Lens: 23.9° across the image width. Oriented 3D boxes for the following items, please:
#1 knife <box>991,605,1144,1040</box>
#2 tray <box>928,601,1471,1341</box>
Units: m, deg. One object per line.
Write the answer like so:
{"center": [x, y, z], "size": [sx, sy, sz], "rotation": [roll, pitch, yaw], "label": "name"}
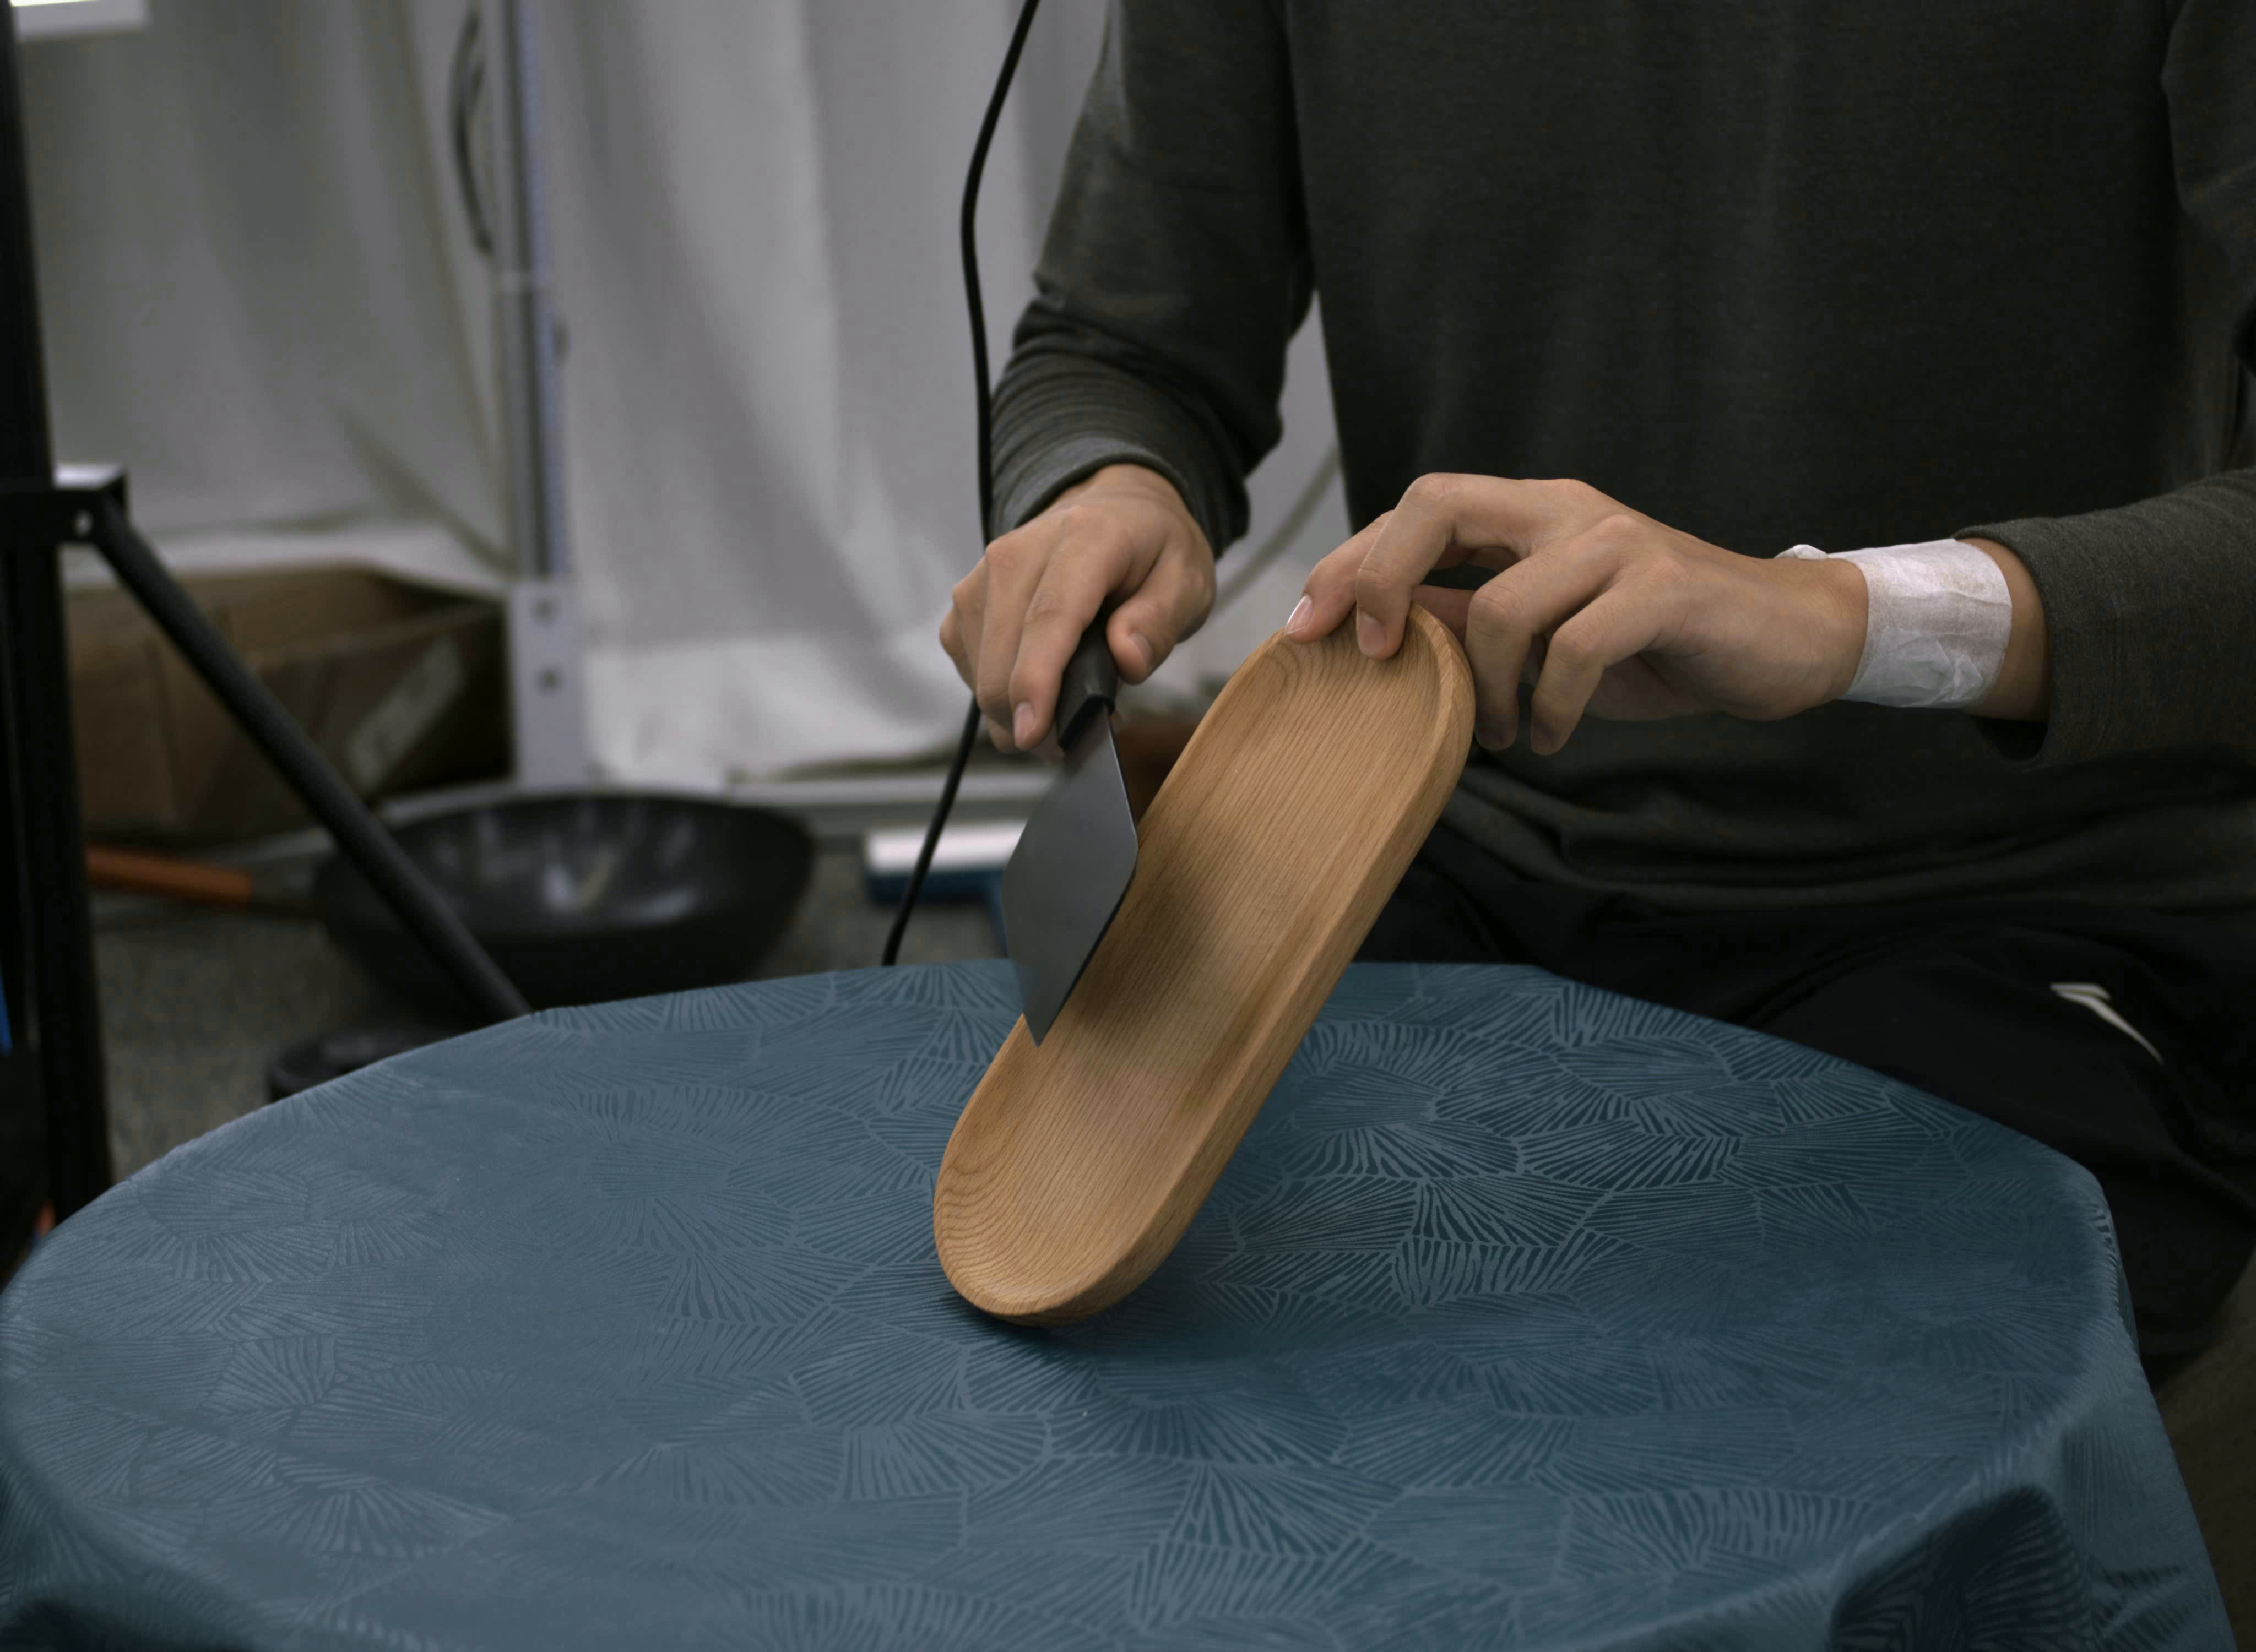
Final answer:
{"center": [-0.020, -0.008, 1.569], "size": [0.020, 0.081, 0.304], "rotation": [29, 16, -11], "label": "knife"}
{"center": [0.020, 0.040, 1.474], "size": [0.020, 0.231, 0.104], "rotation": [34, -6, -35], "label": "tray"}
